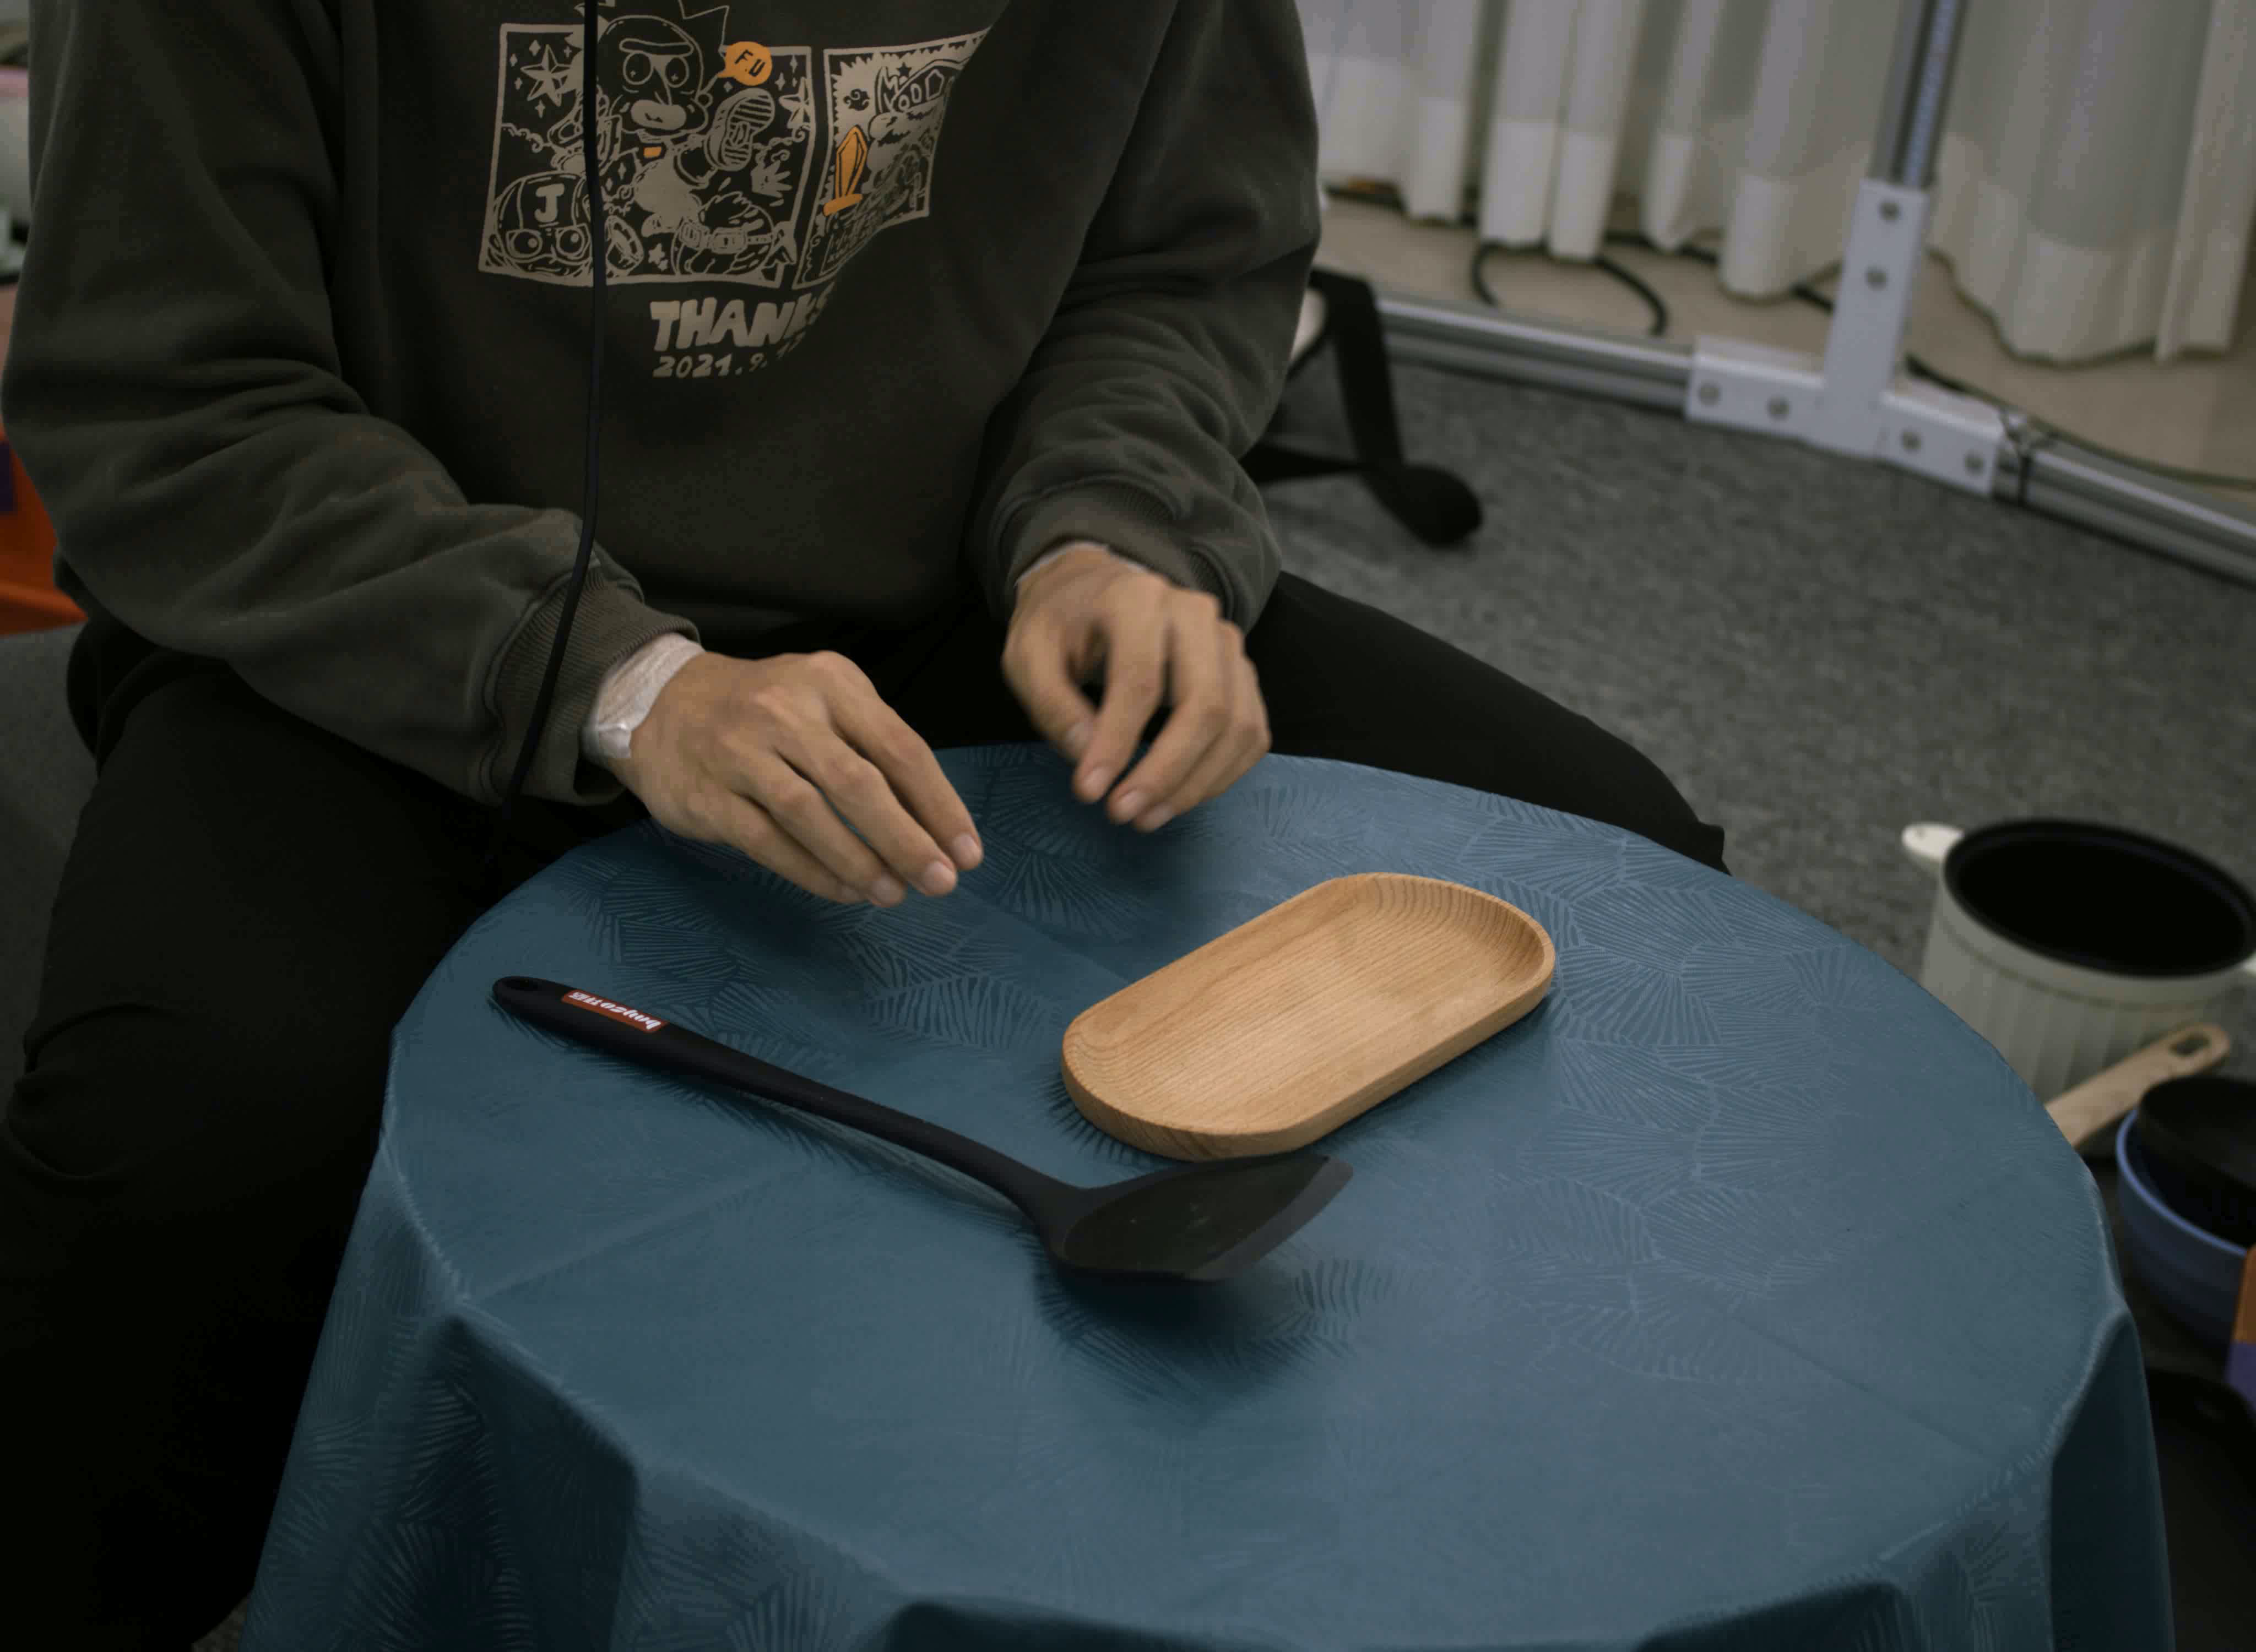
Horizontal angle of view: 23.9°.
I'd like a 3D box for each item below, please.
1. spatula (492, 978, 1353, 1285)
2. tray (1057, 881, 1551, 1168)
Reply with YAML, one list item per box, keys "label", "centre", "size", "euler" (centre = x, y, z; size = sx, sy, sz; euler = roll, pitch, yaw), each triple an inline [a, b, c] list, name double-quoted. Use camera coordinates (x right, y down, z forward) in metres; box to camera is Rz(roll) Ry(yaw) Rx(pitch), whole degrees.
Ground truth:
- label: "spatula"
  centre: [-0.083, 0.095, 1.801]
  size: [0.328, 0.040, 0.099]
  euler: [20, 29, 26]
- label: "tray"
  centre: [0.065, 0.070, 1.908]
  size: [0.102, 0.020, 0.230]
  euler: [24, 32, 31]
